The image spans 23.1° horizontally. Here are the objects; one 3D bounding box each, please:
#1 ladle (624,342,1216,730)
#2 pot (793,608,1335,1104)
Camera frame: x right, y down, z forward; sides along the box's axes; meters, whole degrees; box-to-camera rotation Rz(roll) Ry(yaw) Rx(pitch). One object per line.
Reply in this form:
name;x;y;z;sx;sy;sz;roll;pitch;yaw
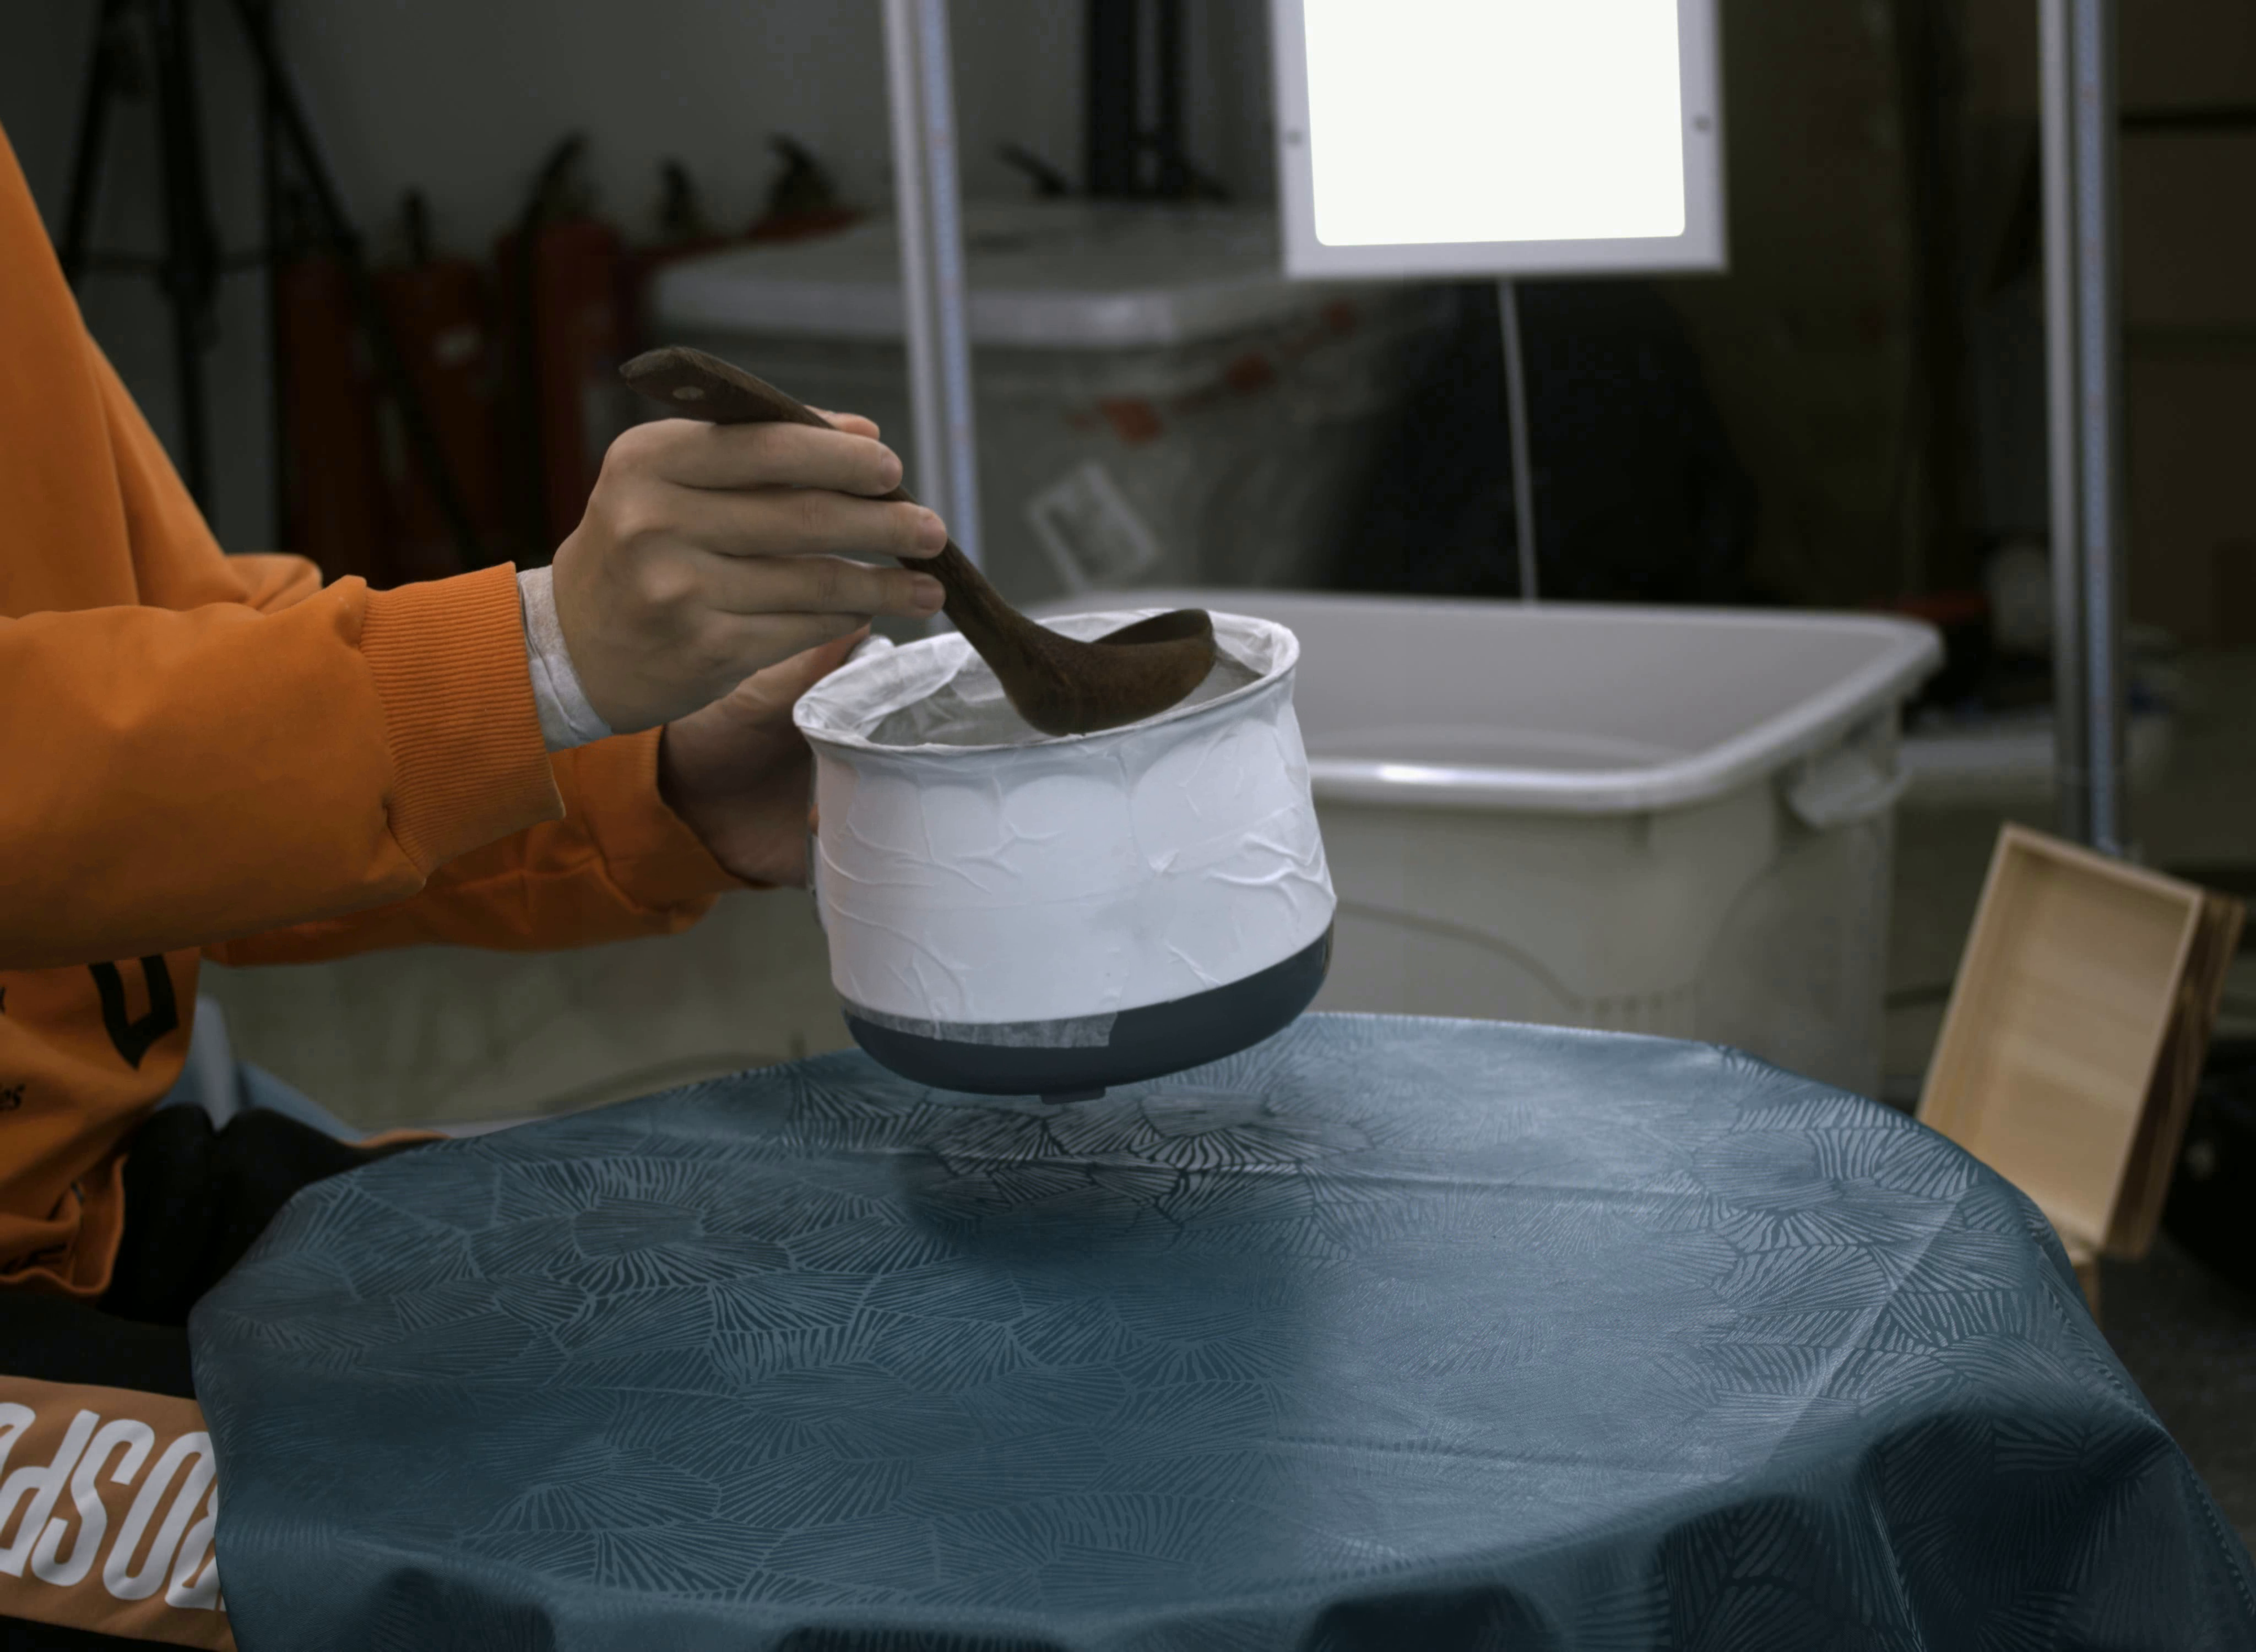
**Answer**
ladle;-0.067;-0.105;1.785;0.077;0.269;0.071;-20;49;30
pot;-0.038;0.006;1.930;0.174;0.137;0.239;-19;19;-36
